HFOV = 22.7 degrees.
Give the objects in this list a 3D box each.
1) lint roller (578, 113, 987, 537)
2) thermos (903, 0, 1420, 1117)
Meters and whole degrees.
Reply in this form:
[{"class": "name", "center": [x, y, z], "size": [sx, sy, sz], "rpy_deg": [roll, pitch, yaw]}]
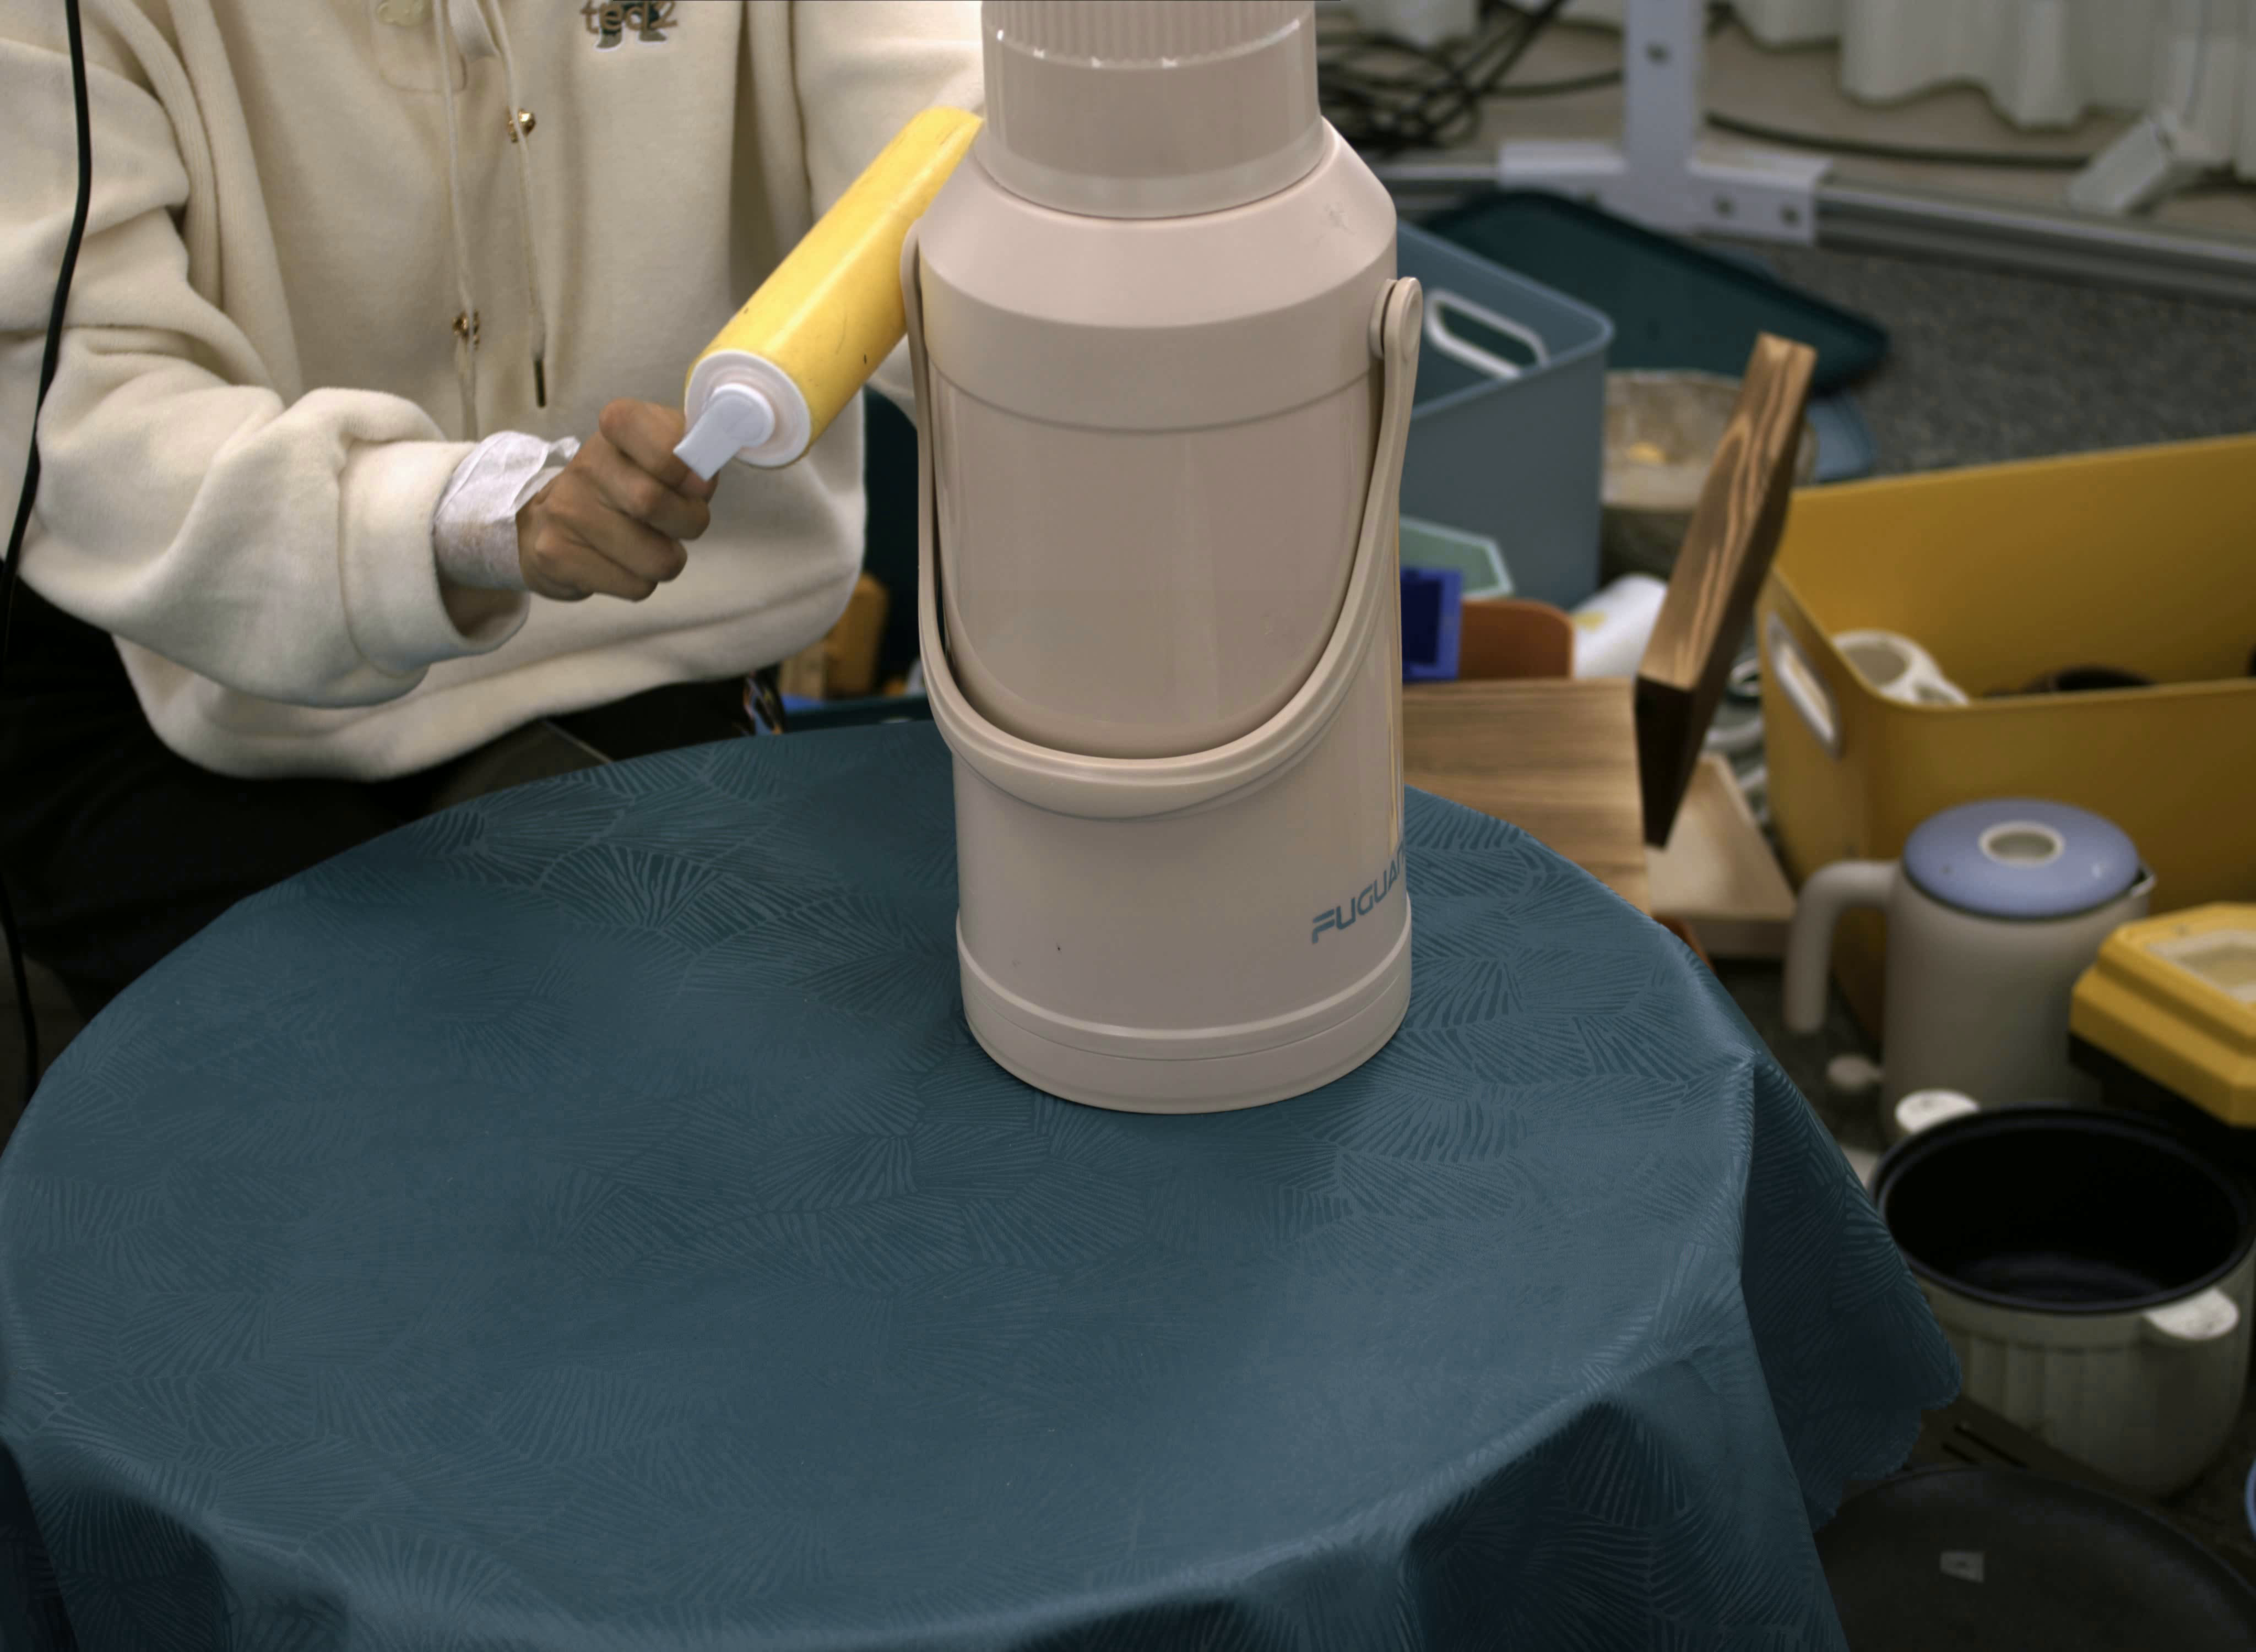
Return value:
[{"class": "lint roller", "center": [-0.137, -0.155, 1.934], "size": [0.189, 0.051, 0.177], "rpy_deg": [-26, 18, 39]}, {"class": "thermos", "center": [0.019, -0.118, 1.890], "size": [0.174, 0.402, 0.211], "rpy_deg": [8, 30, 20]}]
